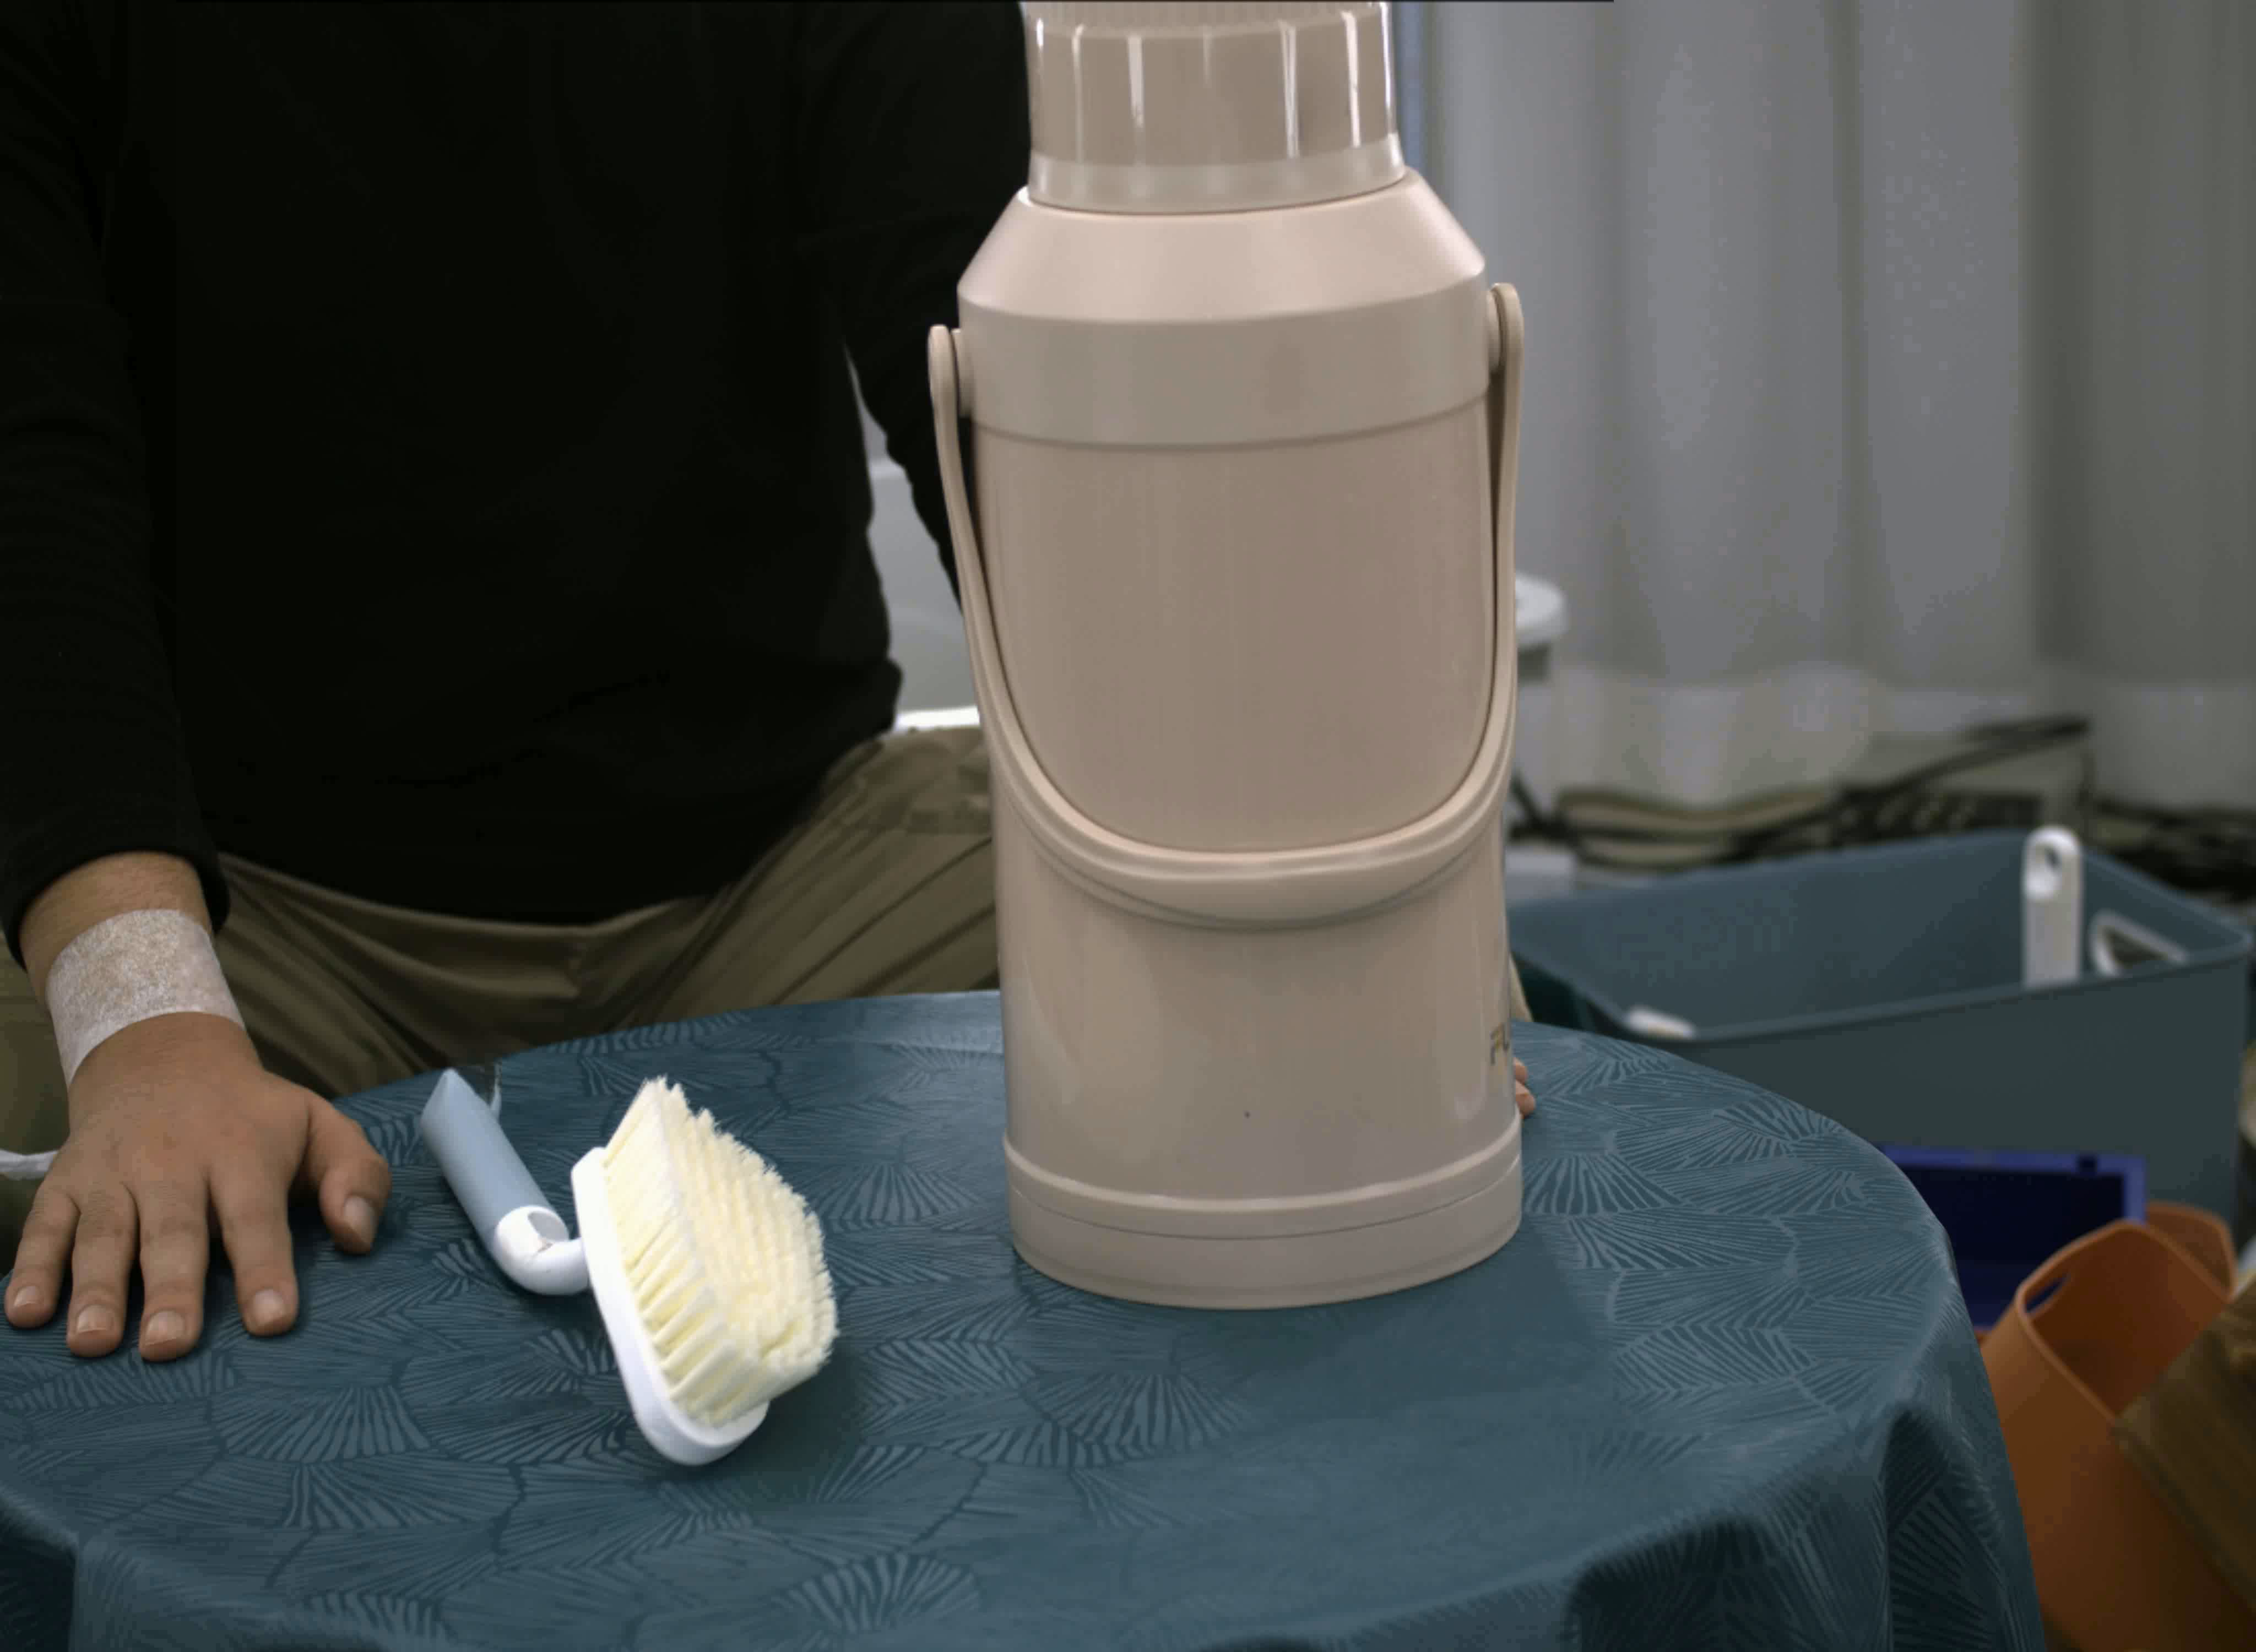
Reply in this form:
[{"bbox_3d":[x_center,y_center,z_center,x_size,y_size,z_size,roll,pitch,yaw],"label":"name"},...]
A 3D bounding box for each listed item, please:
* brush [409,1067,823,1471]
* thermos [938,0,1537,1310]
[{"bbox_3d":[-0.153,0.102,1.638,0.084,0.082,0.328,-11,18,-15],"label":"brush"},{"bbox_3d":[0.035,-0.073,1.647,0.174,0.405,0.208,-6,14,-7],"label":"thermos"}]
